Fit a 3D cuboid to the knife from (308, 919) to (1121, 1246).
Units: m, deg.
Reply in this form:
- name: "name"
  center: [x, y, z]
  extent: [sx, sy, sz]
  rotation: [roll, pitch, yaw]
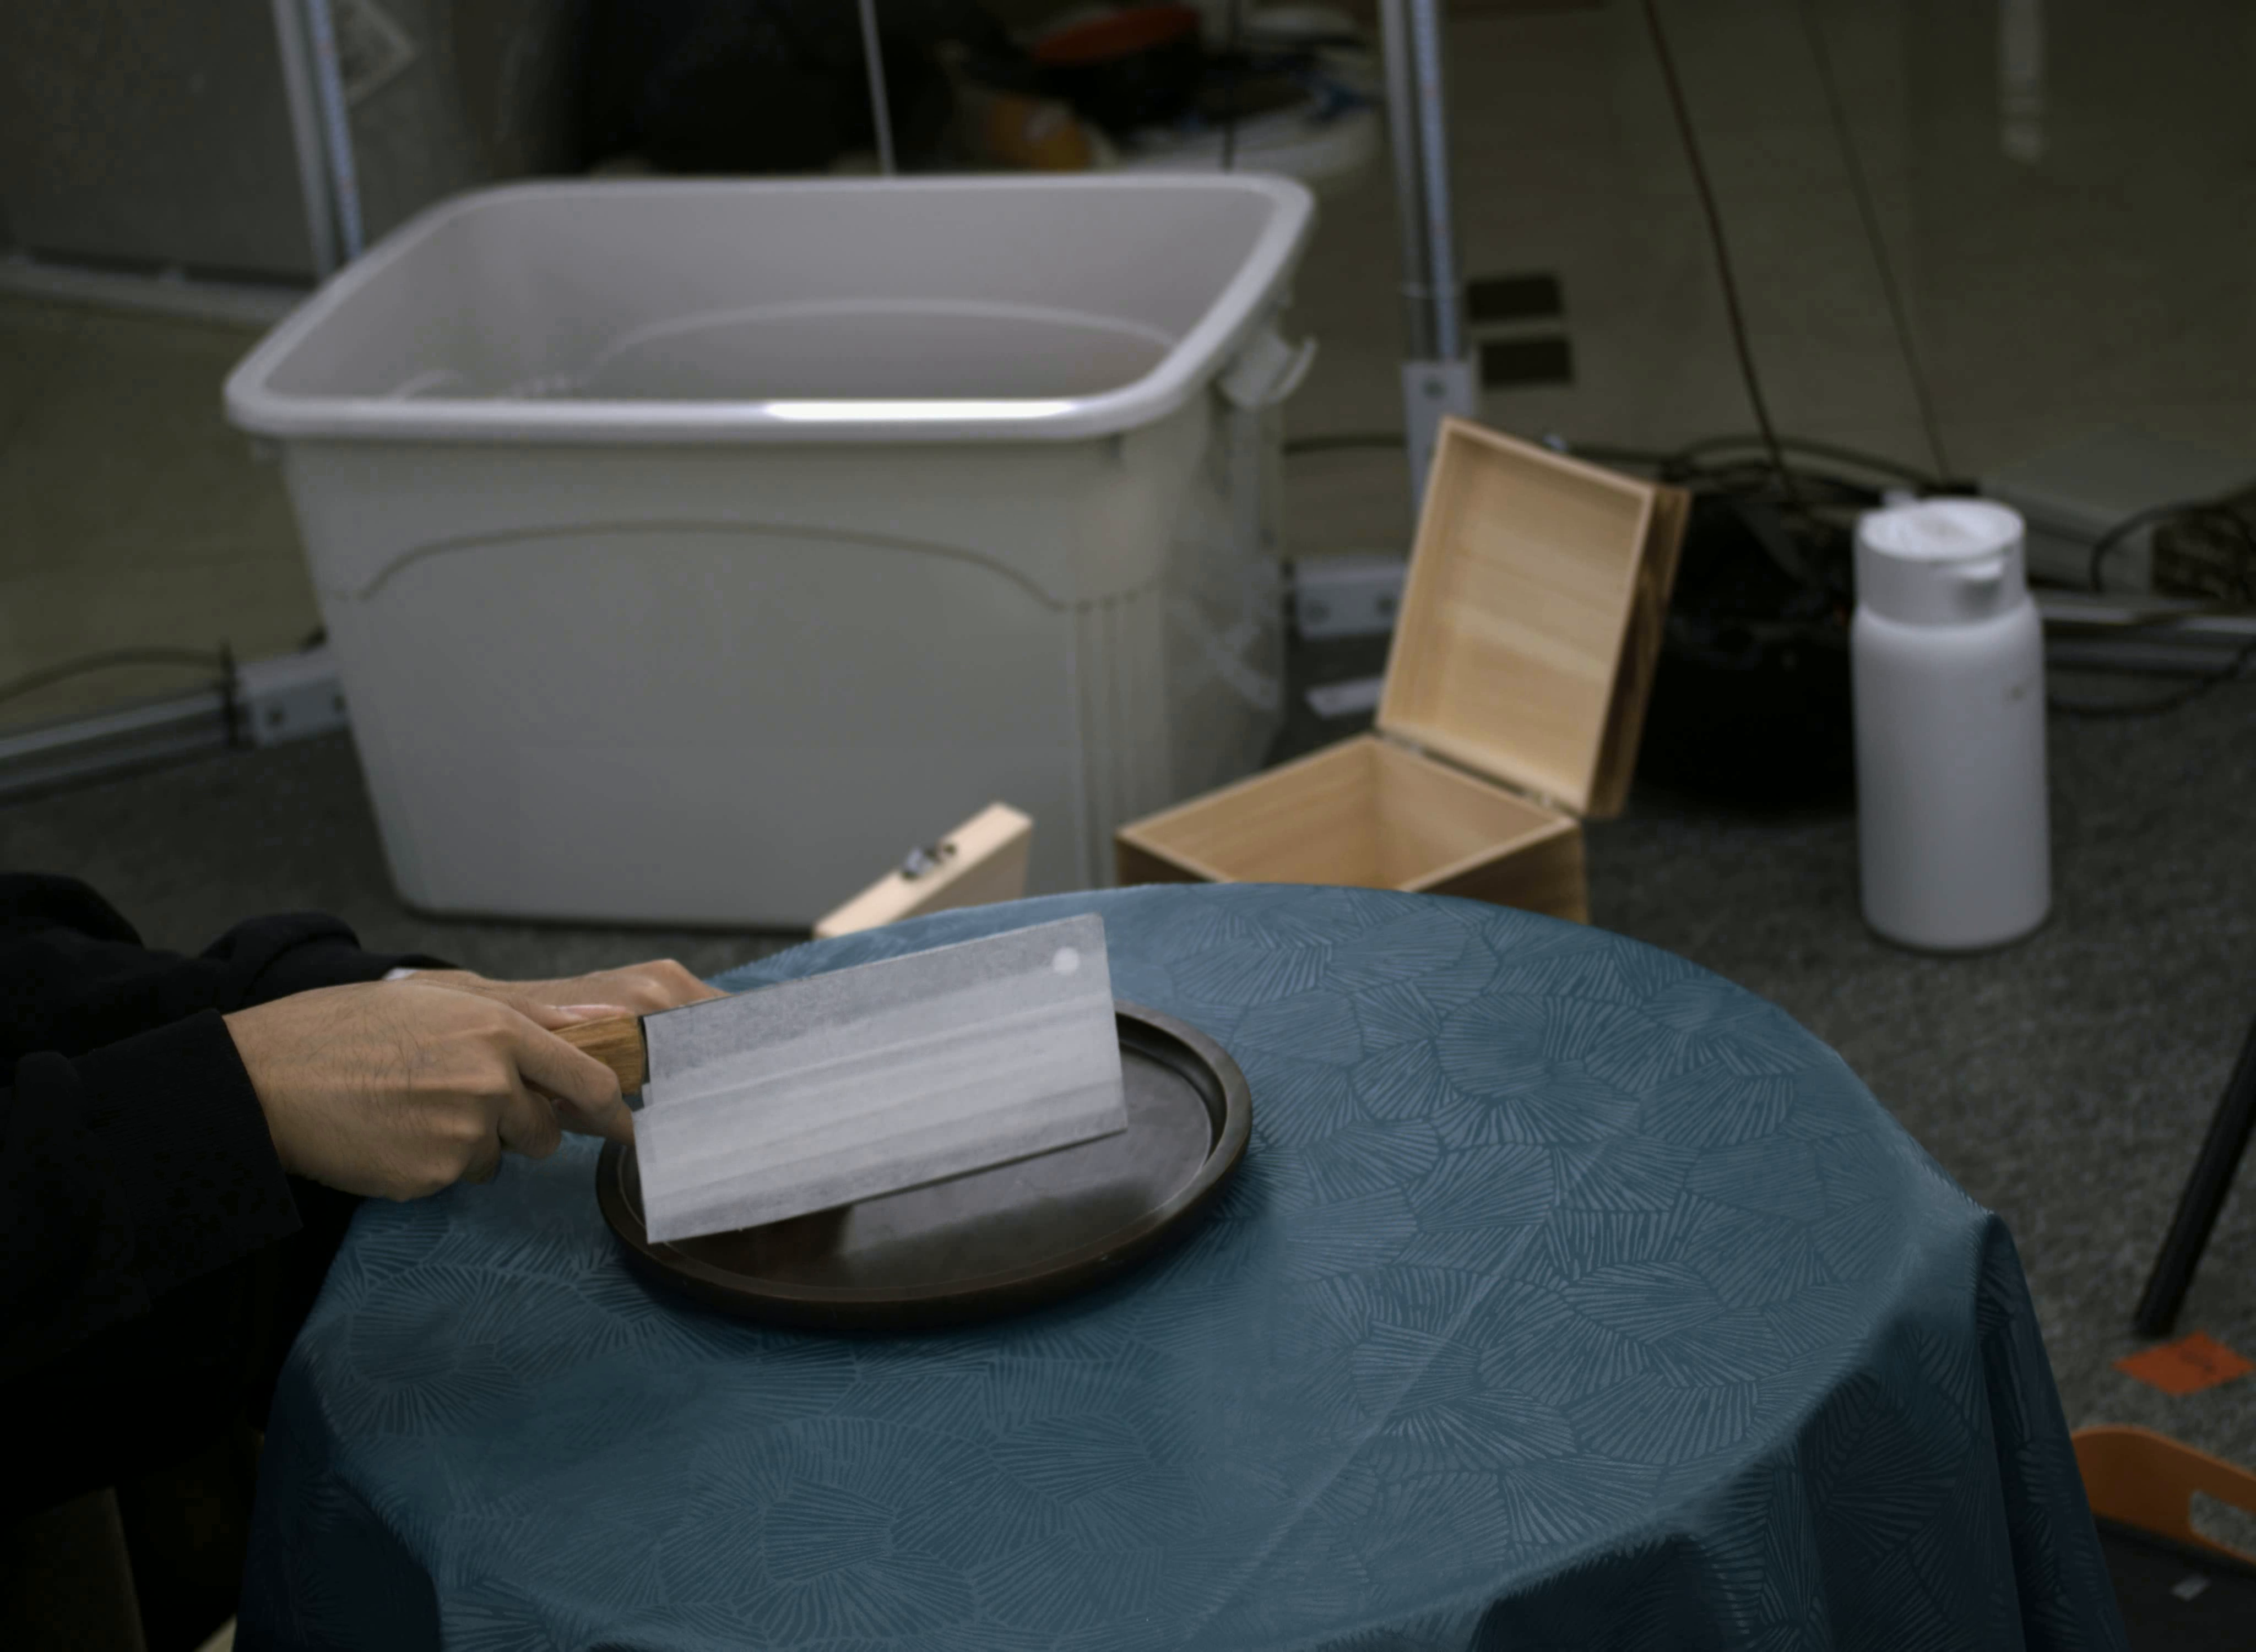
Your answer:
- name: "knife"
  center: [-0.147, 0.105, 2.087]
  extent: [0.305, 0.094, 0.021]
  rotation: [-12, 21, -17]

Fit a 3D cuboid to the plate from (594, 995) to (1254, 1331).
- name: "plate"
  center: [-0.077, 0.125, 2.165]
  extent: [0.254, 0.029, 0.251]
  rotation: [-5, 24, 2]
